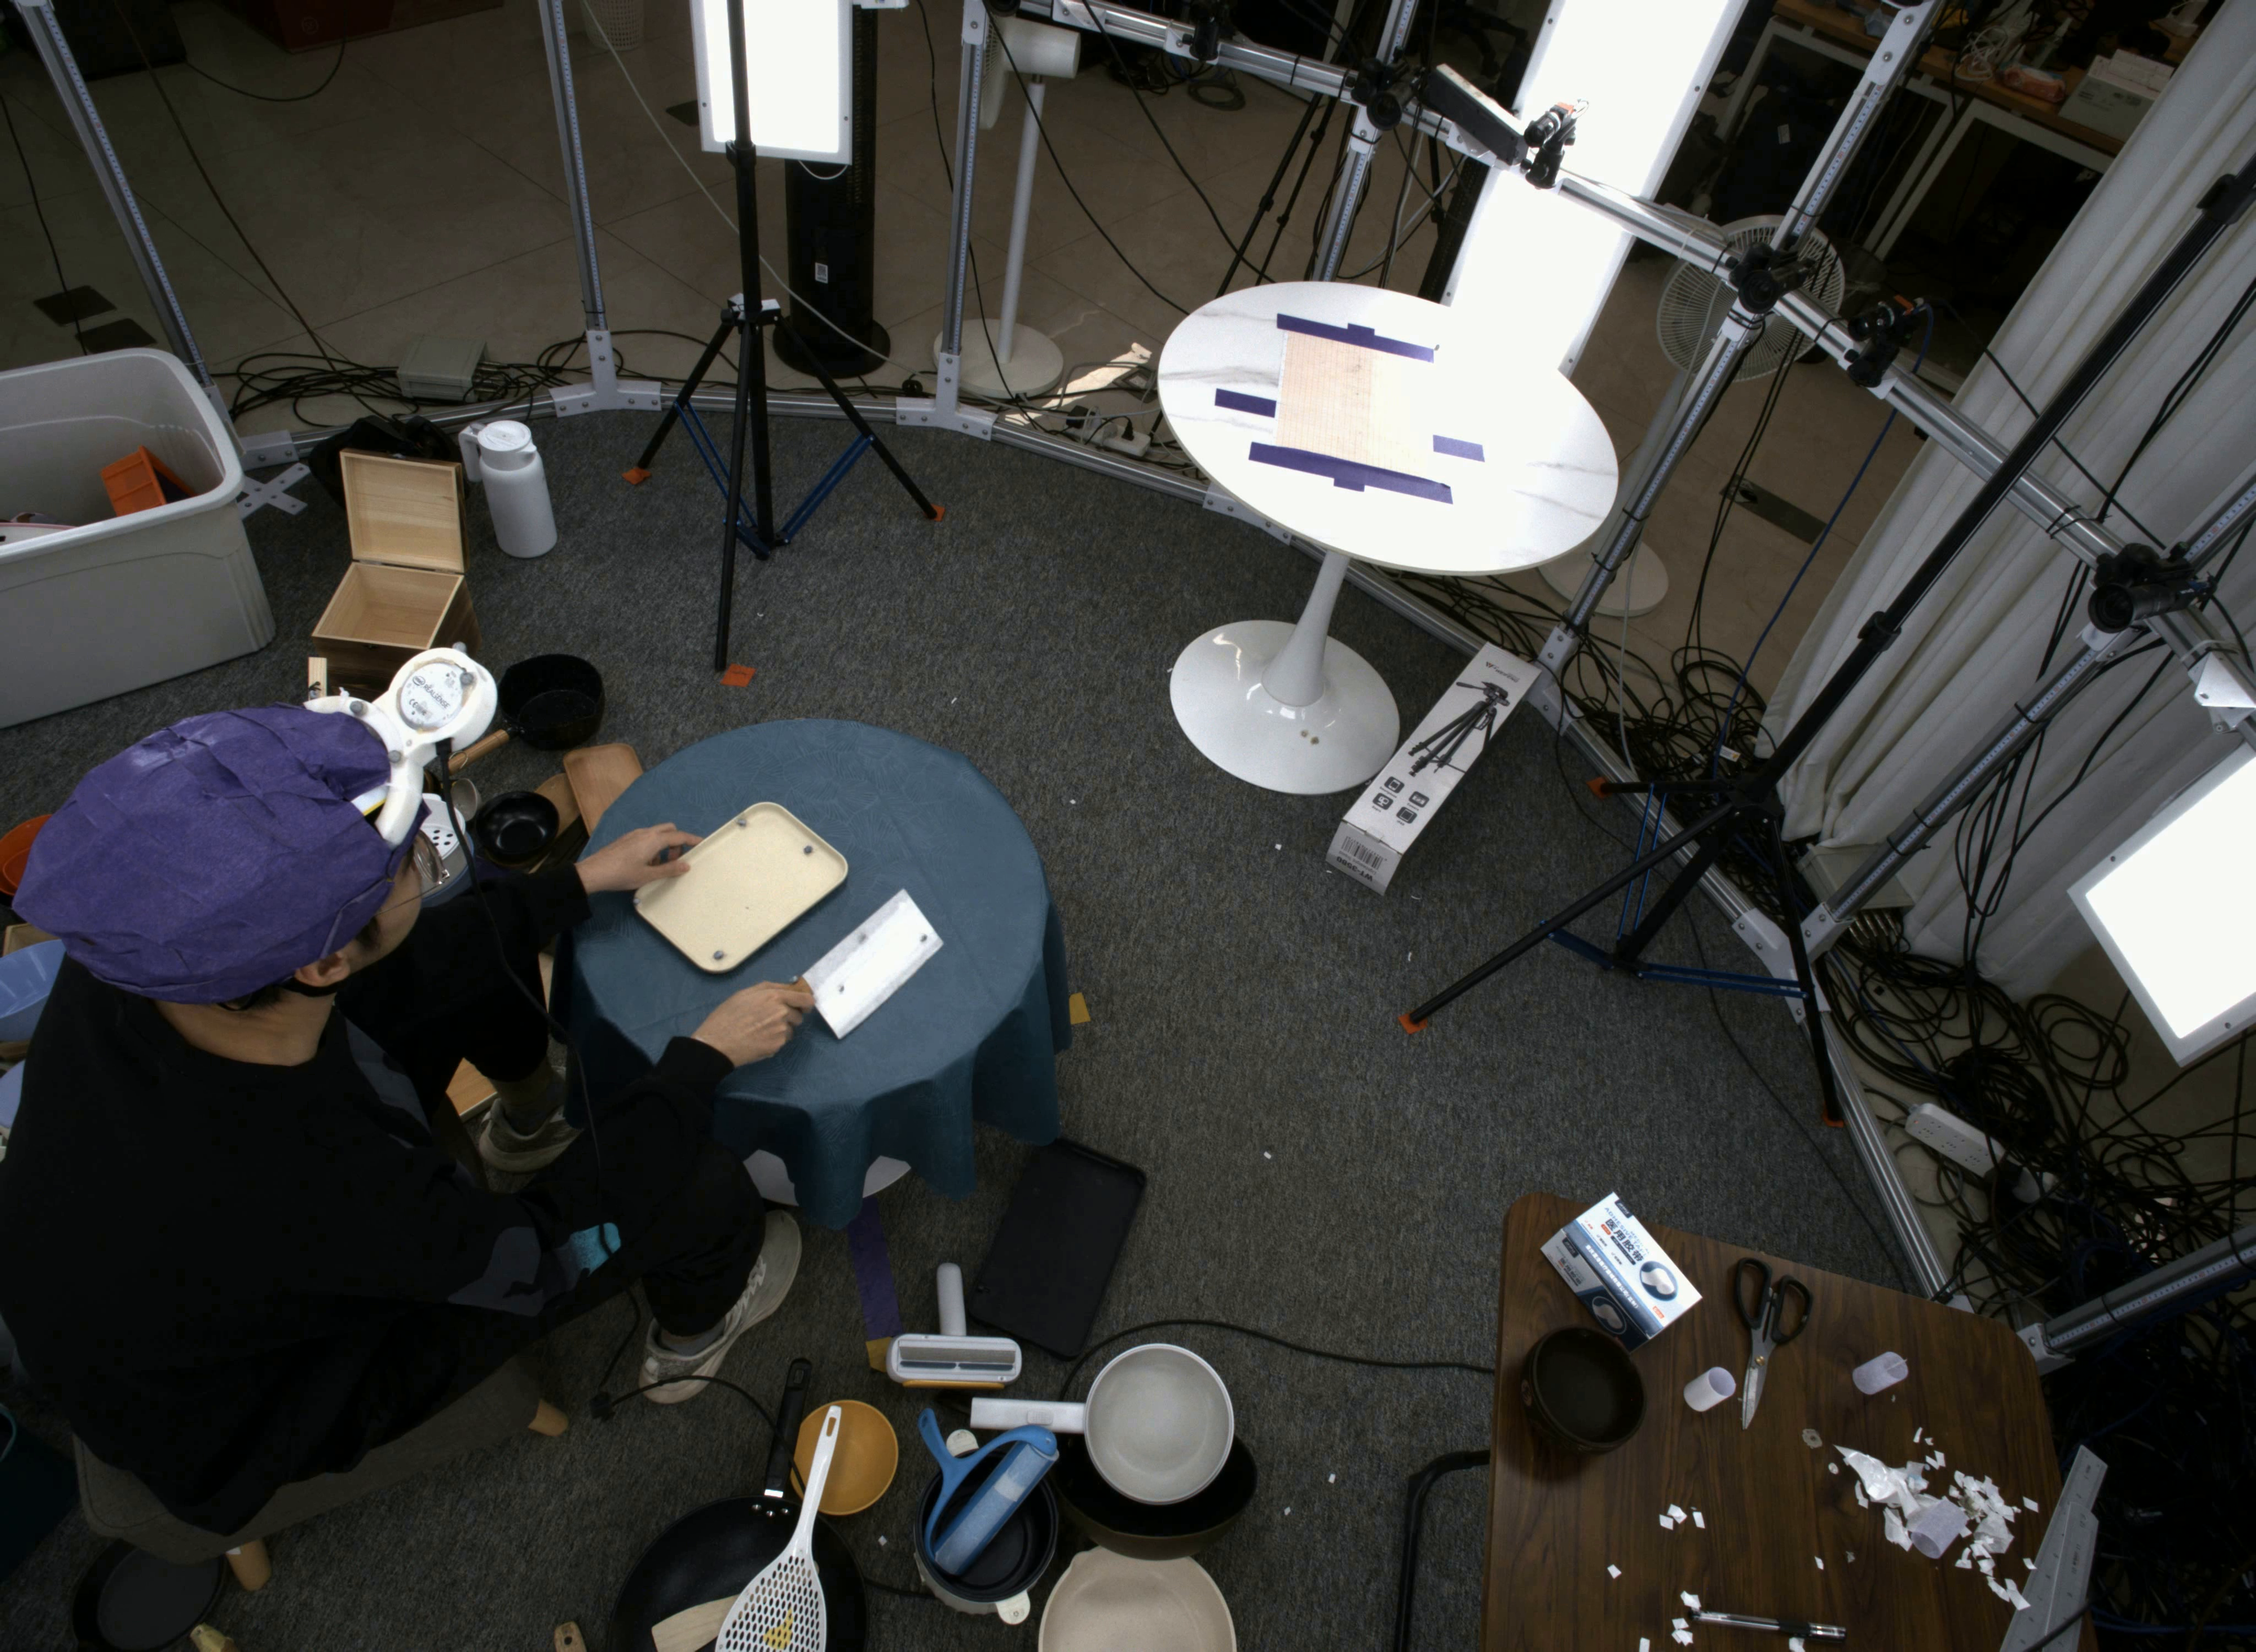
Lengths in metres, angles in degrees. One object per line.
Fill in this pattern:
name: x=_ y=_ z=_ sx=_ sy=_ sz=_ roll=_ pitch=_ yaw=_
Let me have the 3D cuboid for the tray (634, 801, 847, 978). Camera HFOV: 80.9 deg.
tray: x=-0.485 y=0.076 z=1.627 sx=0.168 sy=0.018 sz=0.239 roll=38 pitch=53 yaw=12

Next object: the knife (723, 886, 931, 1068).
knife: x=-0.346 y=0.192 z=1.544 sx=0.305 sy=0.020 sz=0.095 roll=-45 pitch=111 yaw=-37
